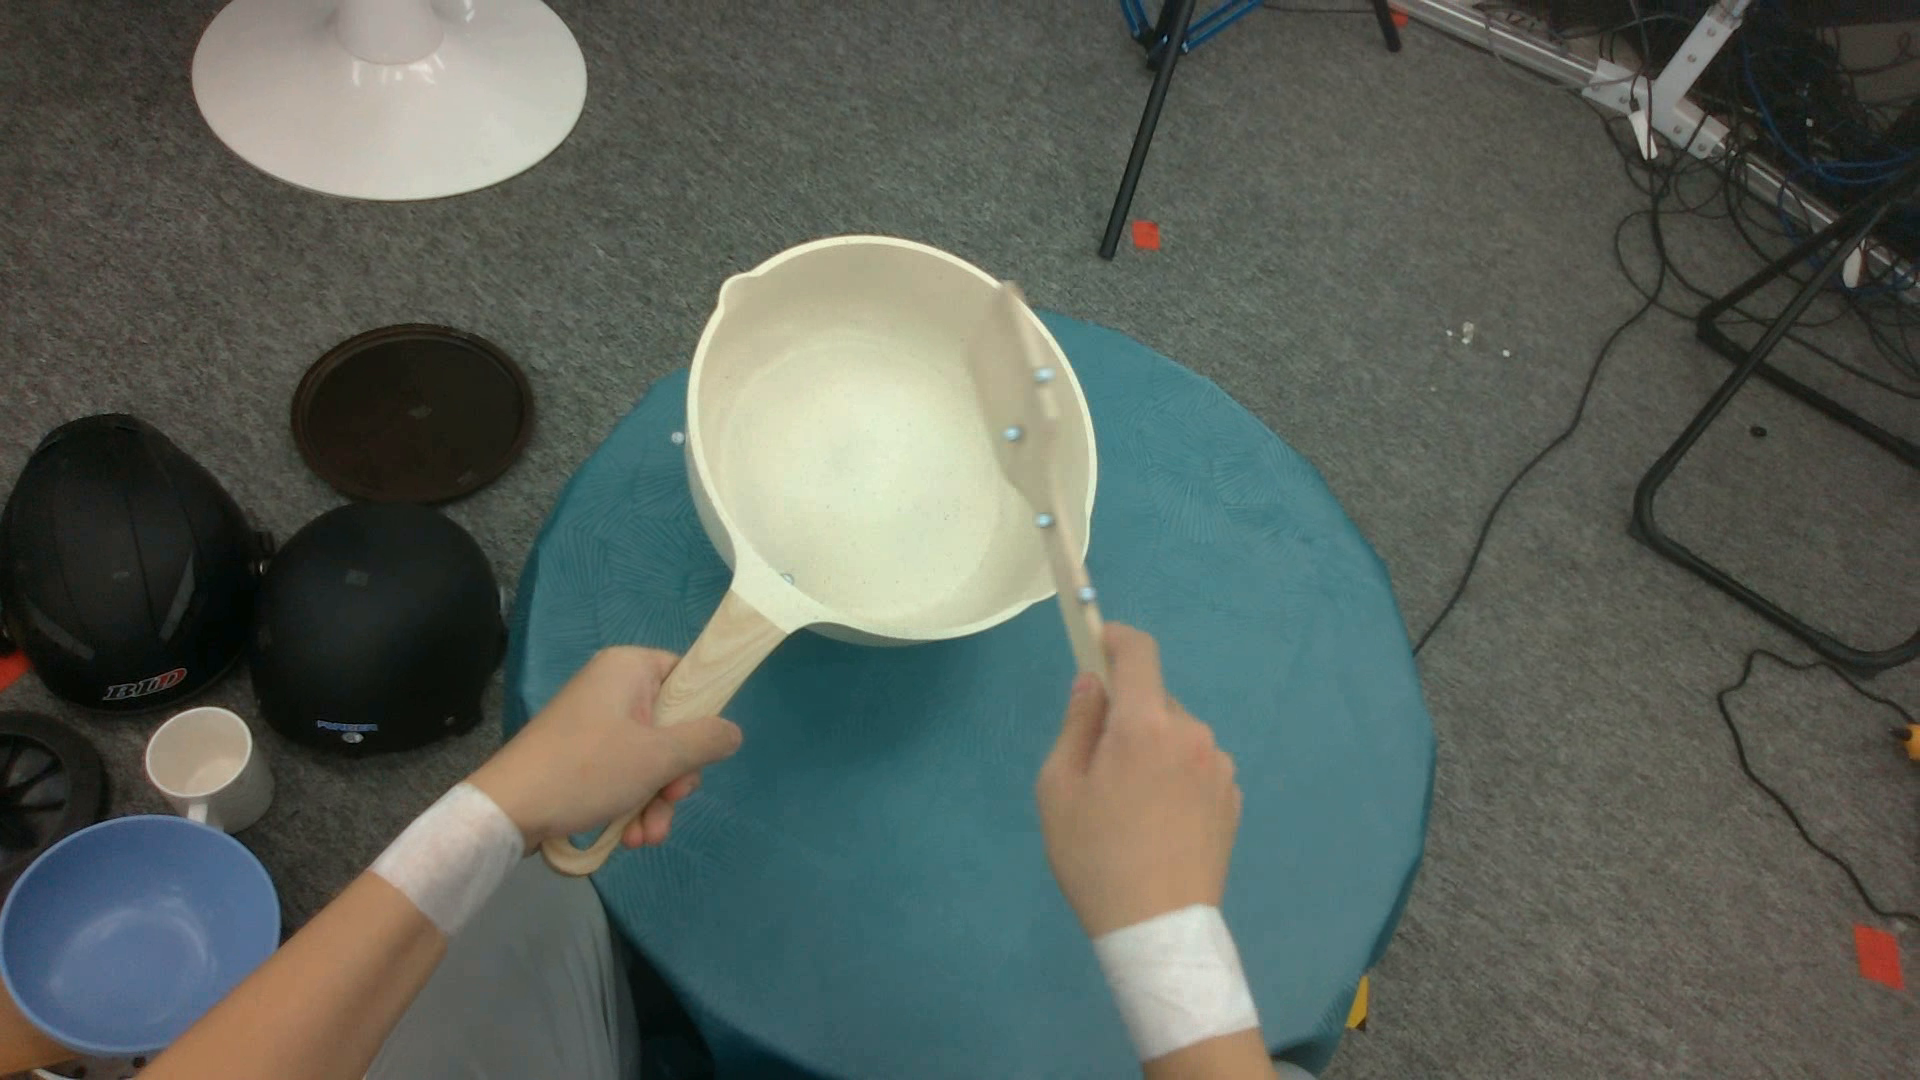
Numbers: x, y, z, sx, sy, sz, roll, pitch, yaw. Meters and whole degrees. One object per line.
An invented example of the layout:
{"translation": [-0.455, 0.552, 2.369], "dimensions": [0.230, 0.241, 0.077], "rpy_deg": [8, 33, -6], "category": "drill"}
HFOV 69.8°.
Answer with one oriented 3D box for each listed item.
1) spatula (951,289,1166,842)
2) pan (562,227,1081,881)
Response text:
{"translation": [0.049, 0.009, 0.694], "dimensions": [0.011, 0.072, 0.293], "rpy_deg": [-9, 67, -22], "category": "spatula"}
{"translation": [-0.097, 0.007, 0.793], "dimensions": [0.263, 0.101, 0.437], "rpy_deg": [37, 62, -9], "category": "pan"}
